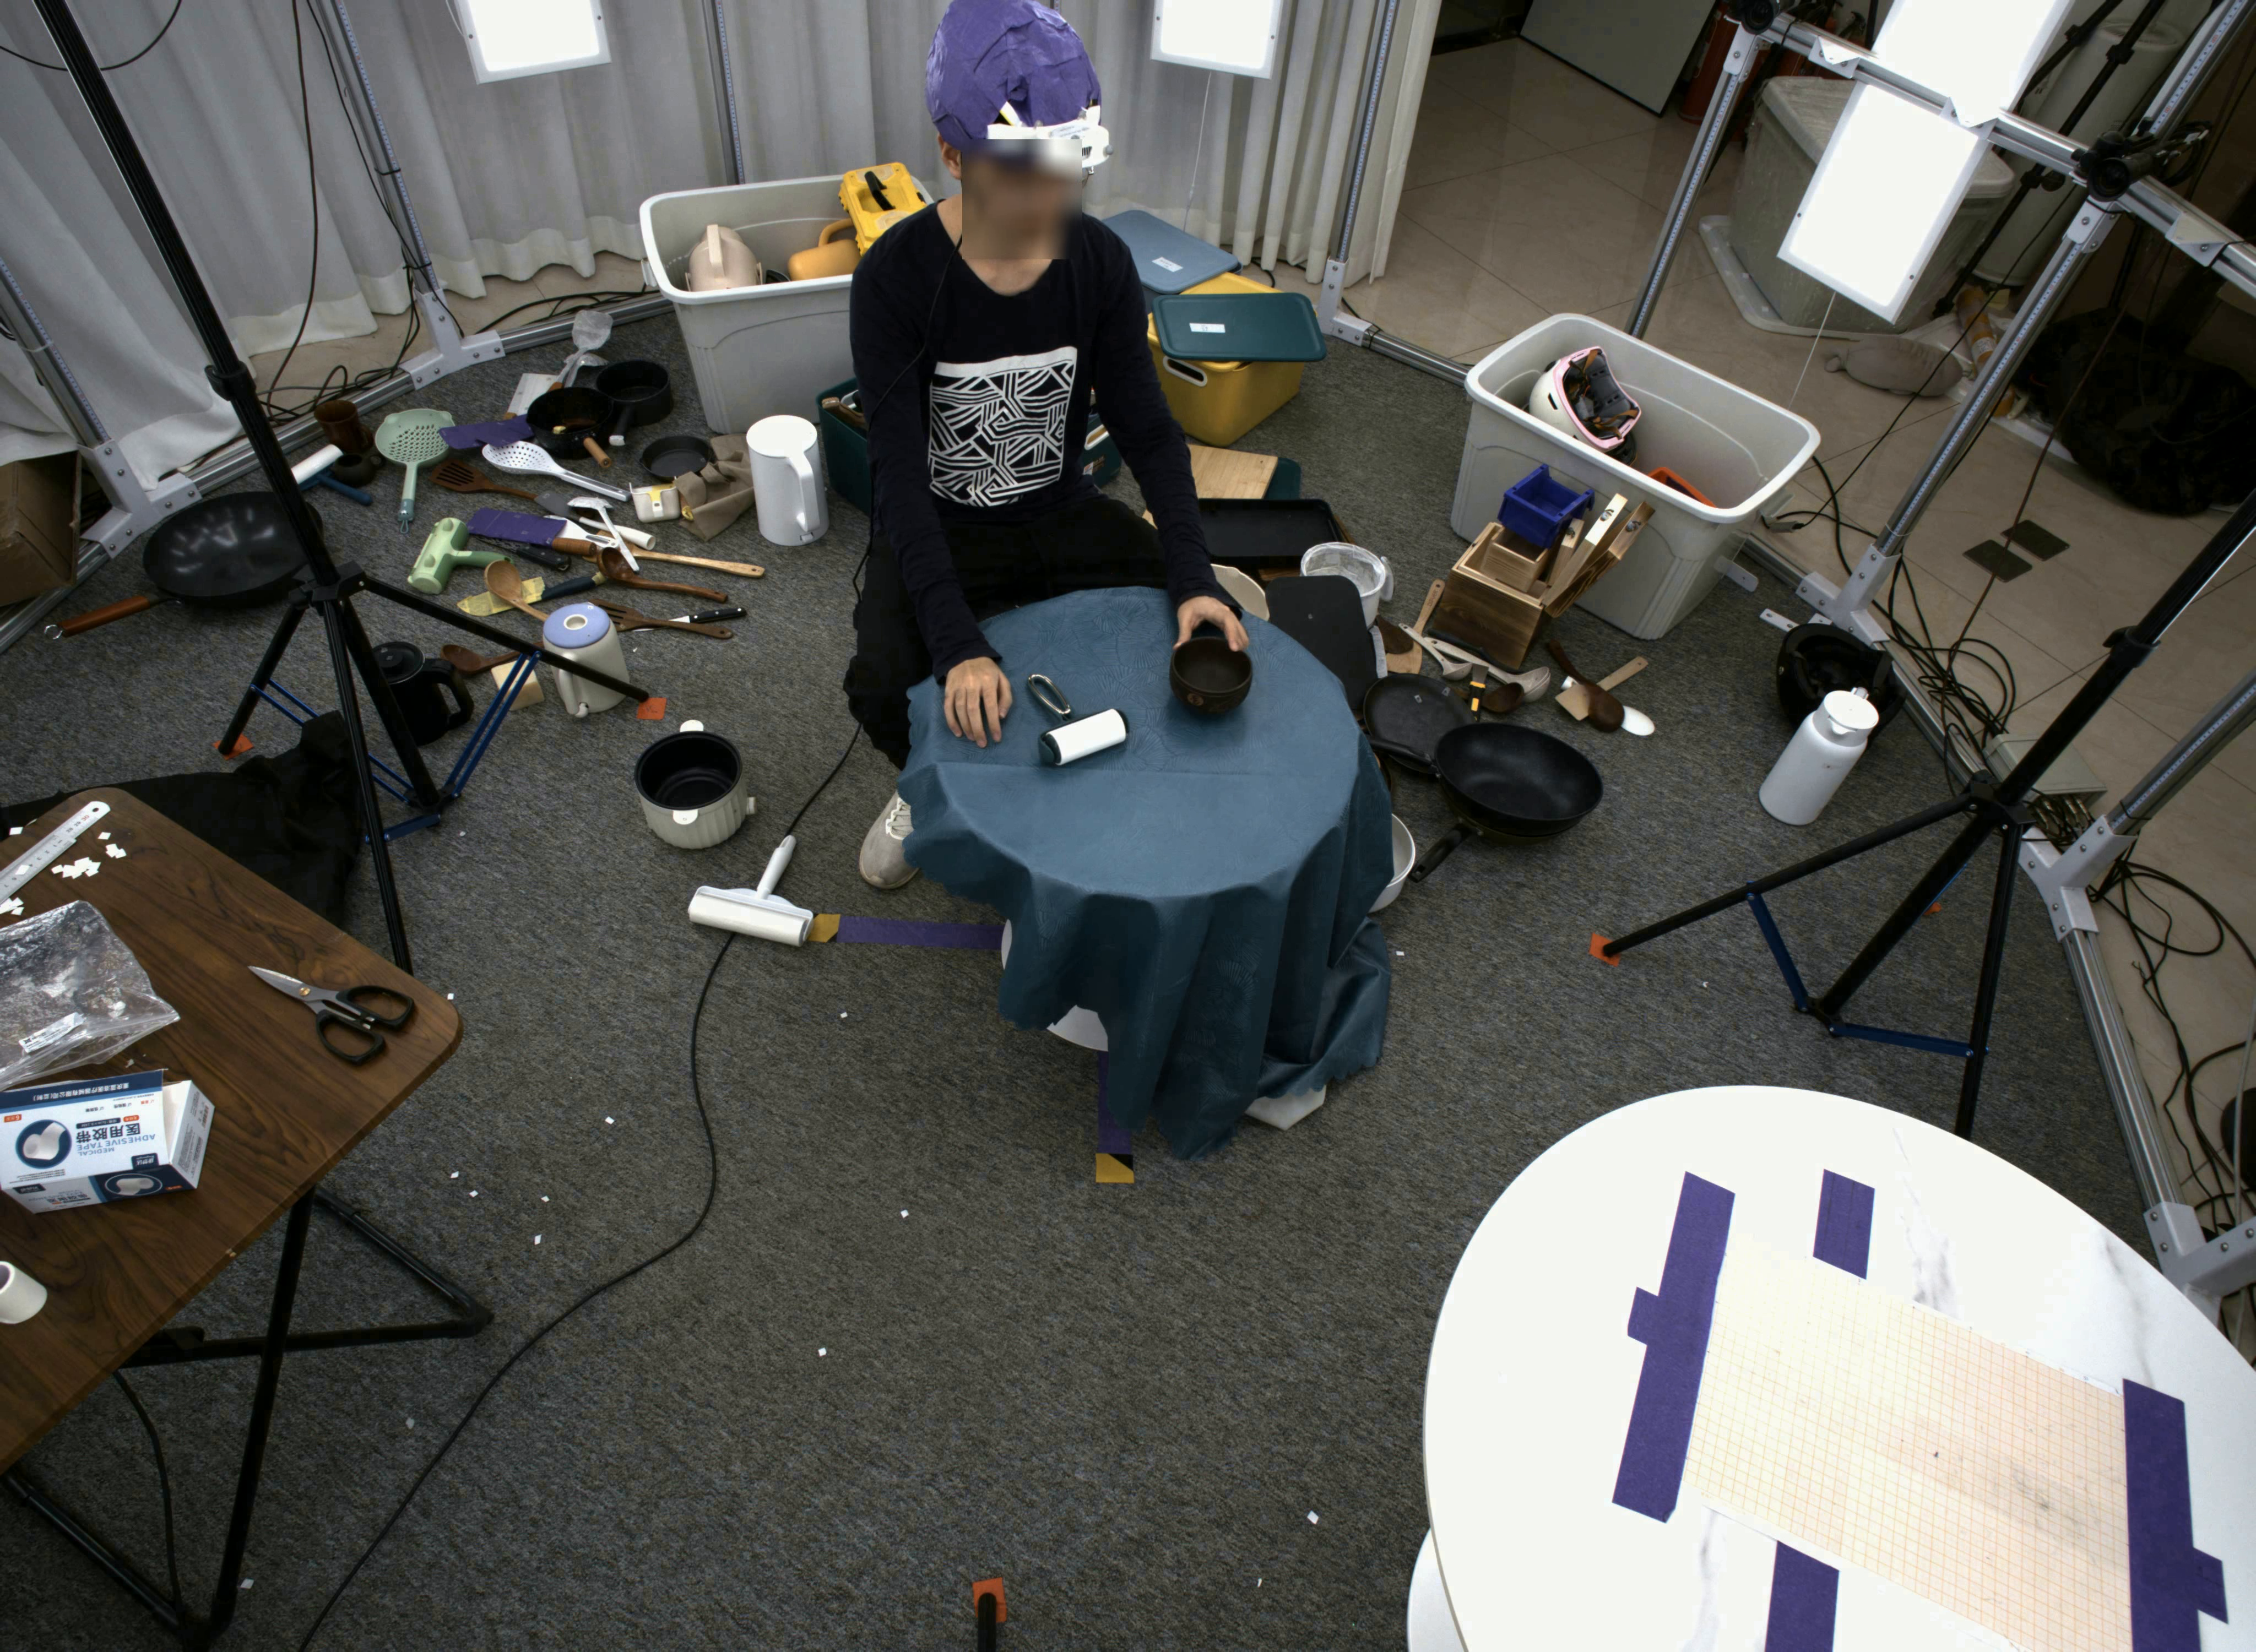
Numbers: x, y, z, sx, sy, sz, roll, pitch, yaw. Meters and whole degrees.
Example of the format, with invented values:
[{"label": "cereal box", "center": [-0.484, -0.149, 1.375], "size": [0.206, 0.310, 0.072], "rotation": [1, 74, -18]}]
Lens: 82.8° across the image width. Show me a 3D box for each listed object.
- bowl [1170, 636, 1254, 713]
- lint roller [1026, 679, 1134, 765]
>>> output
[{"label": "bowl", "center": [0.117, -0.205, 1.806], "size": [0.118, 0.068, 0.121], "rotation": [1, 48, -1]}, {"label": "lint roller", "center": [-0.092, -0.164, 1.777], "size": [0.135, 0.047, 0.184], "rotation": [-22, 52, -21]}]
